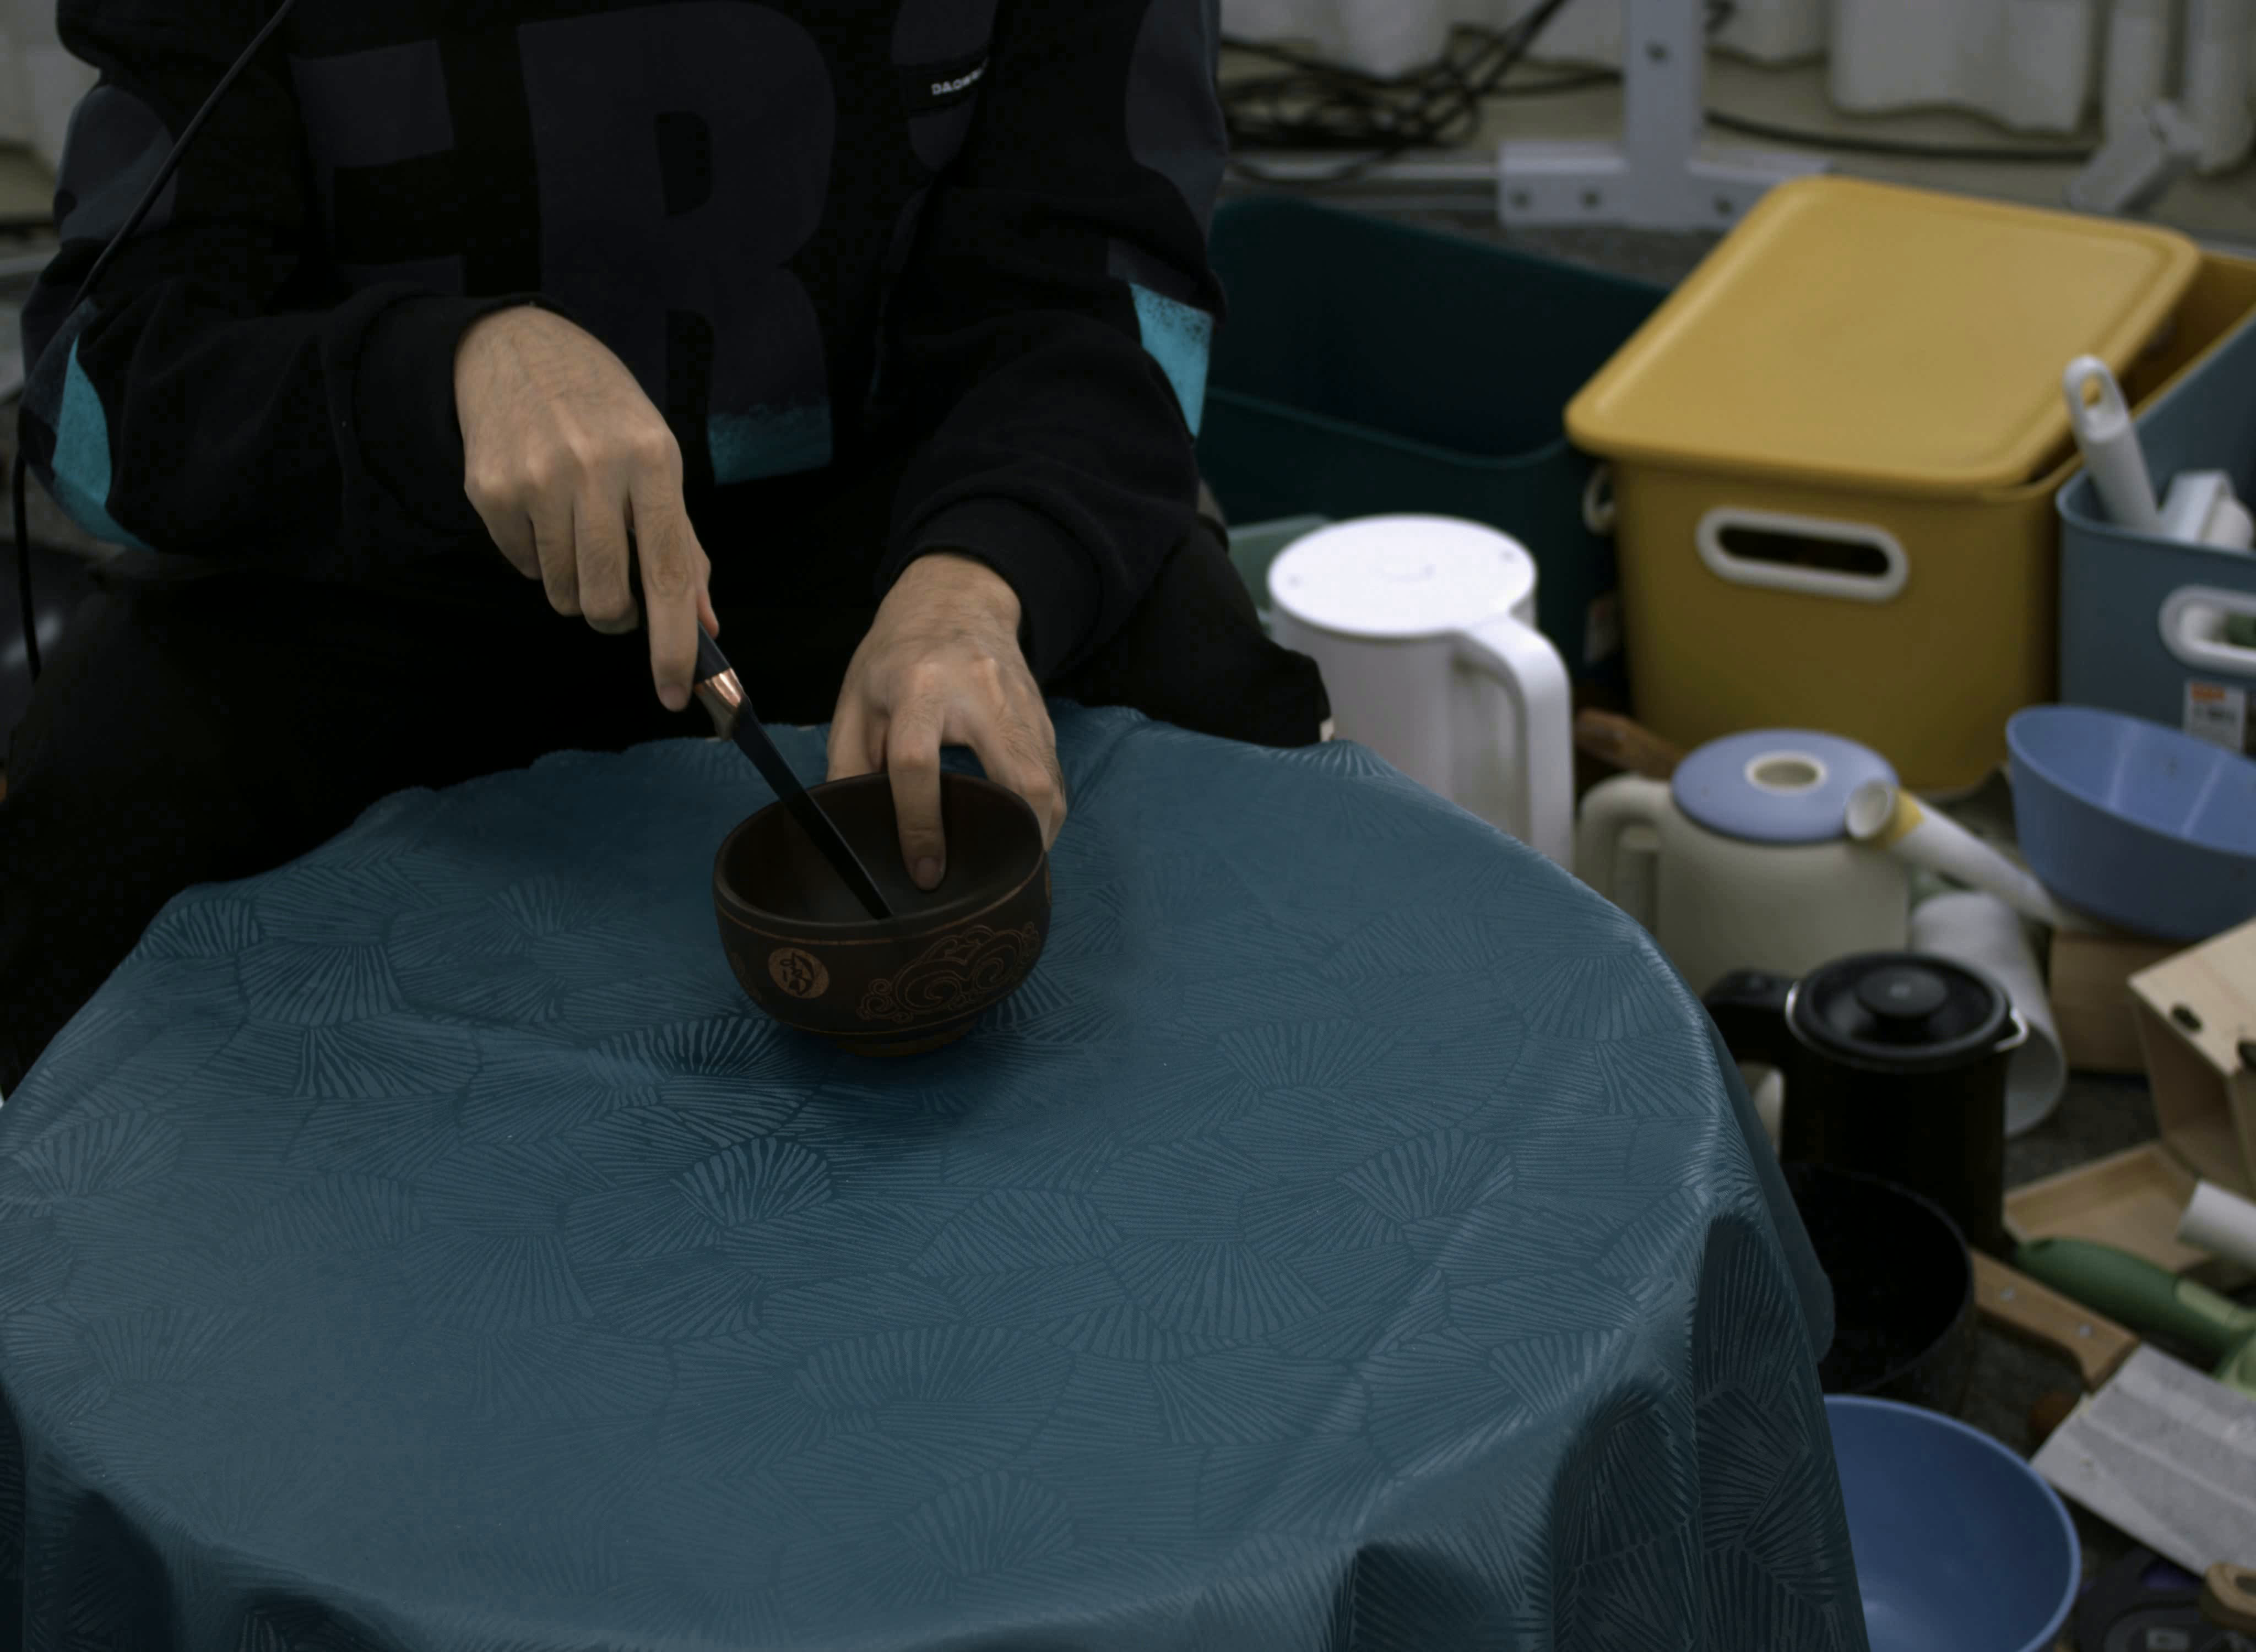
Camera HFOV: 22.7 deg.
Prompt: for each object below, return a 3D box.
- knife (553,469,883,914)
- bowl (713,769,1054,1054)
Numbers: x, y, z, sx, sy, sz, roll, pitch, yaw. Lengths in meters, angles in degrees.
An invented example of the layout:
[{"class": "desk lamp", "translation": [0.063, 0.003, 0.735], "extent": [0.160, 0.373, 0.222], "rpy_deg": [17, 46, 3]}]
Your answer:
[{"class": "knife", "translation": [-0.134, -0.032, 1.973], "extent": [0.017, 0.026, 0.226], "rpy_deg": [-28, 77, -39]}, {"class": "bowl", "translation": [-0.083, 0.036, 1.952], "extent": [0.117, 0.069, 0.120], "rpy_deg": [-3, 25, 2]}]
